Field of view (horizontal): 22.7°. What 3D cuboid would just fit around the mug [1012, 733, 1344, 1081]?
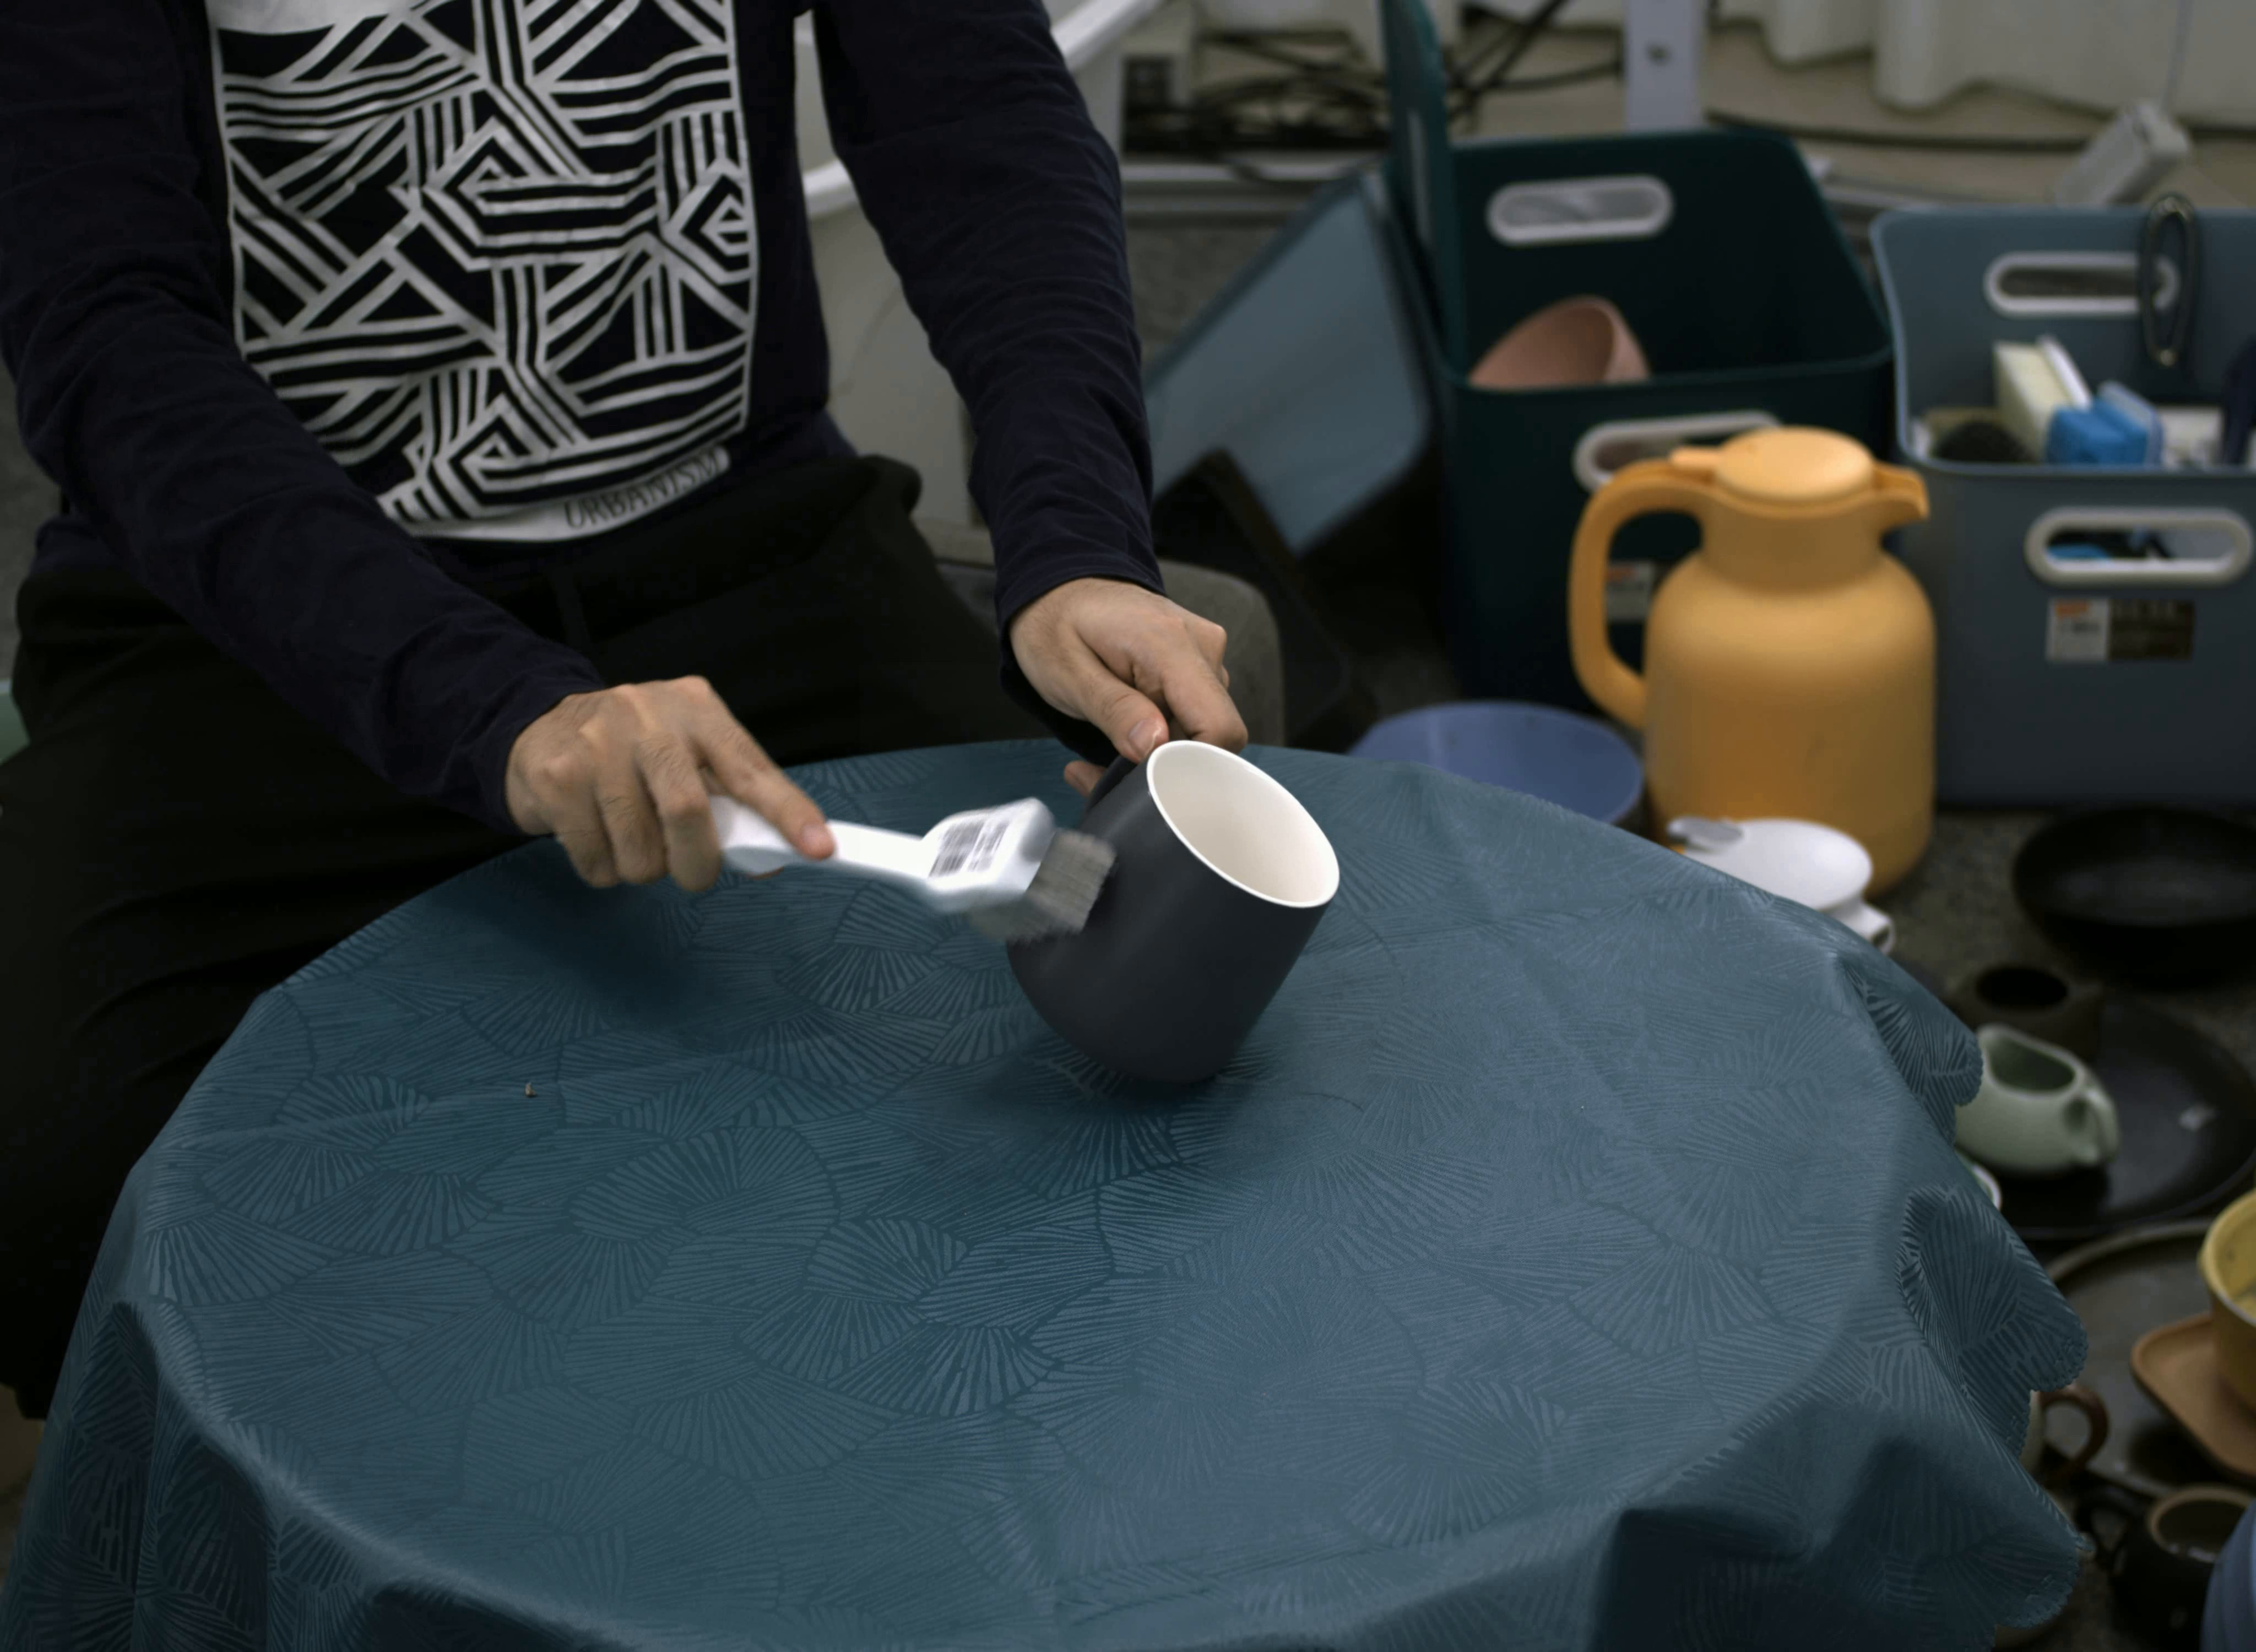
[{"bbox_3d":[0.015,0.019,1.922,0.093,0.088,0.125,21,32,-27],"label":"mug"}]

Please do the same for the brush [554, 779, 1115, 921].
[{"bbox_3d":[-0.101,0.011,1.937,0.241,0.050,0.035,-2,63,42],"label":"brush"}]
